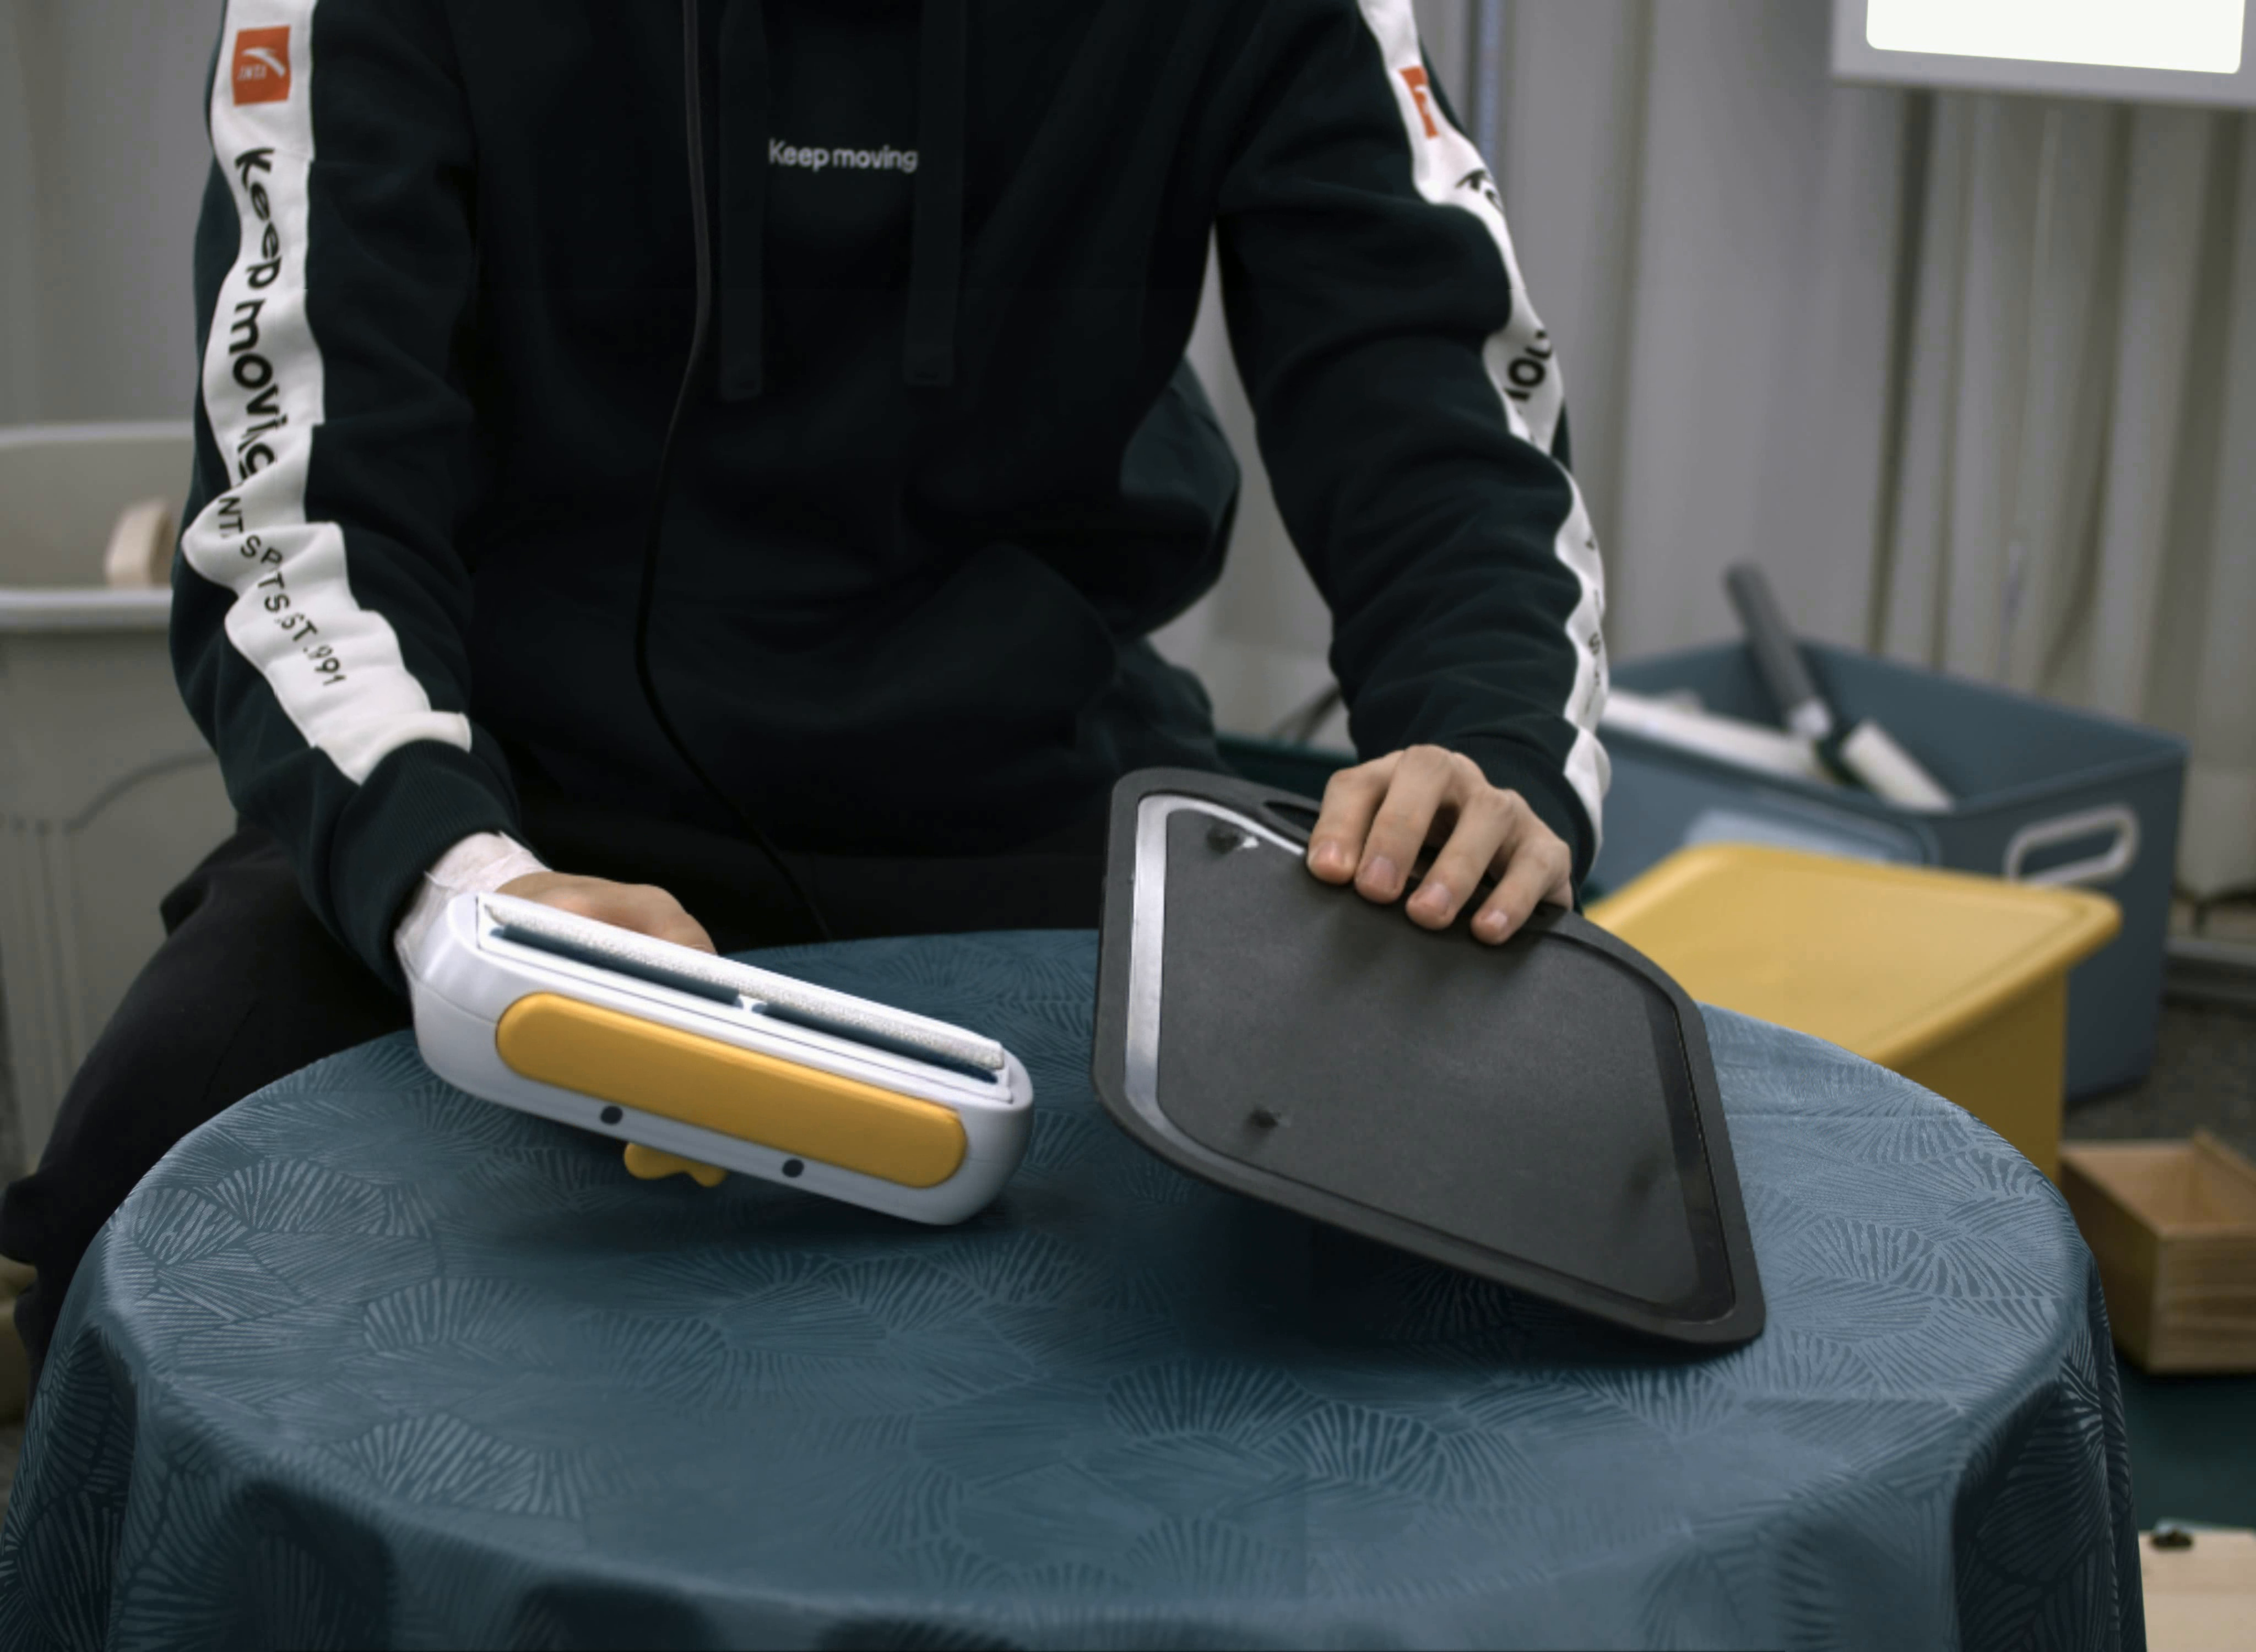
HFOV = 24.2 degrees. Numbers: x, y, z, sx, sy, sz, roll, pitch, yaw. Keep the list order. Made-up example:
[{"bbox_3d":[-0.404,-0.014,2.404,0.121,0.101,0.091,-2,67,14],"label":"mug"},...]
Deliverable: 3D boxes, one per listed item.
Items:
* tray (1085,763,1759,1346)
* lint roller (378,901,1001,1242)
[{"bbox_3d":[0.088,0.058,1.615,0.211,0.010,0.323,21,21,-7],"label":"tray"},{"bbox_3d":[-0.141,0.081,1.633,0.193,0.074,0.192,16,-4,-8],"label":"lint roller"}]
